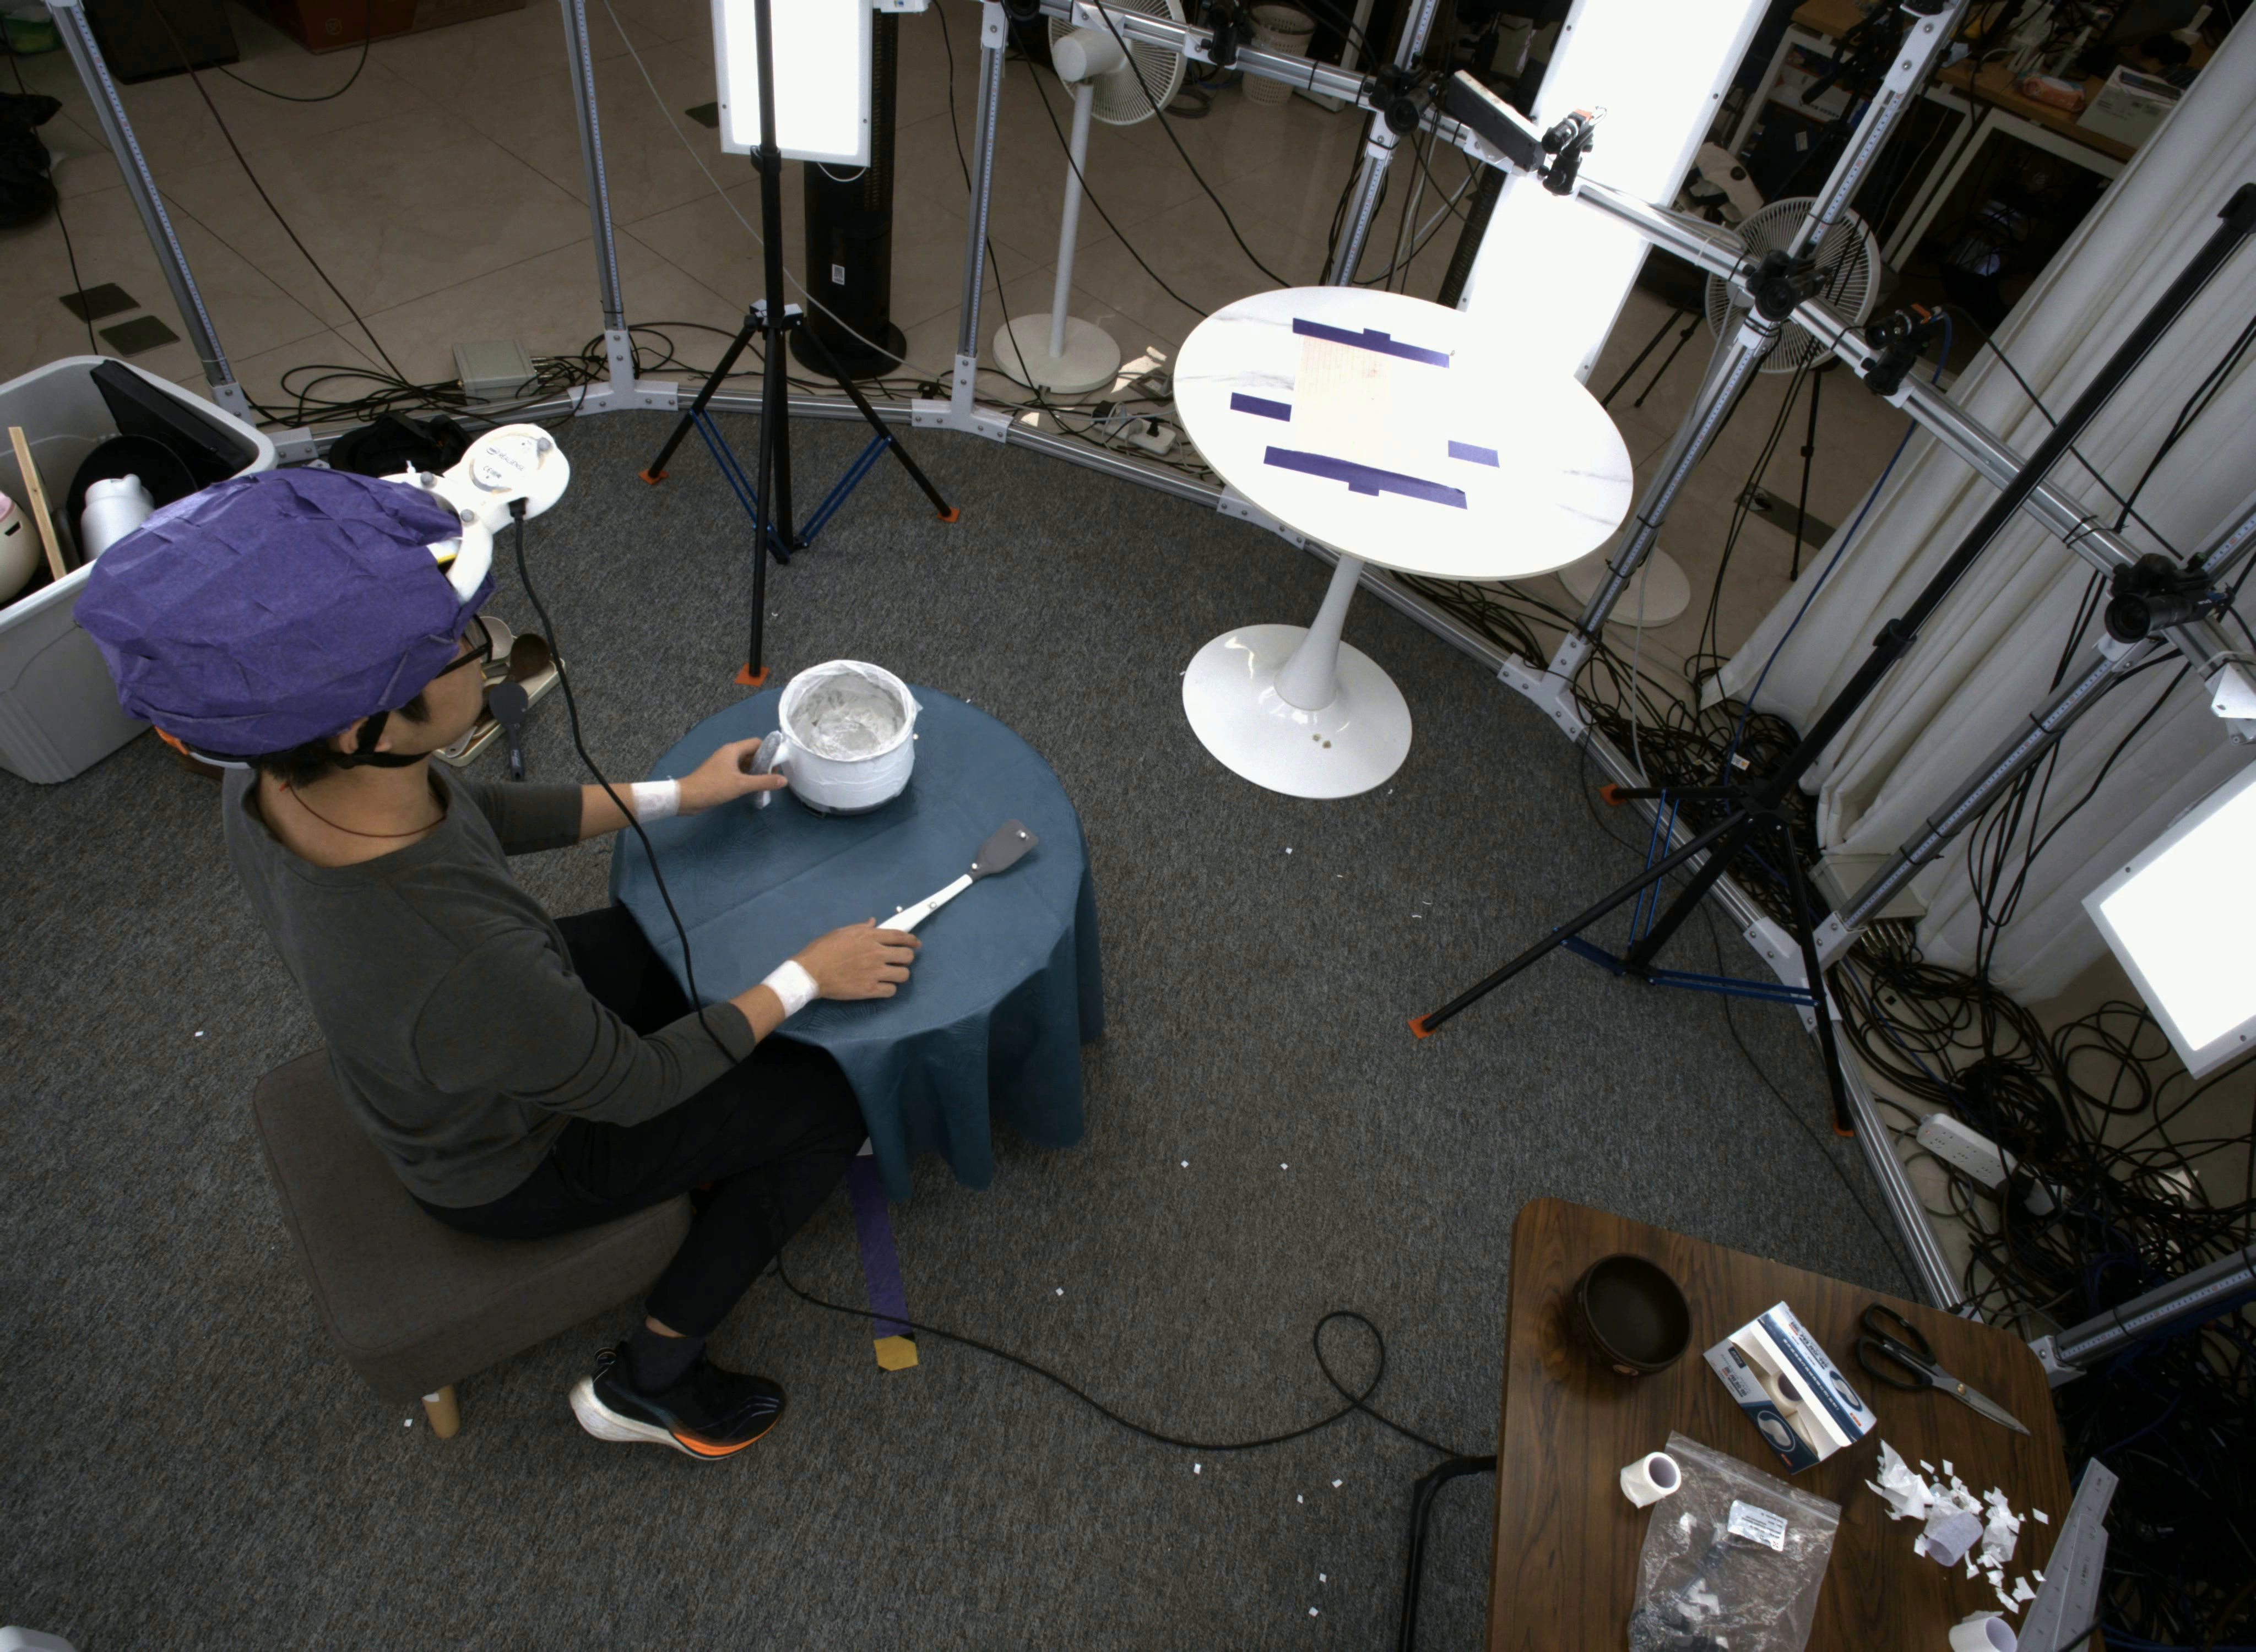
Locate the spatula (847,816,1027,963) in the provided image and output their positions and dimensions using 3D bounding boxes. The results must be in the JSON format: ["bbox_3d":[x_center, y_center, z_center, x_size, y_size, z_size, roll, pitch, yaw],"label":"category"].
[{"bbox_3d":[-0.248,0.080,1.700,0.057,0.033,0.288,38,55,19],"label":"spatula"}]

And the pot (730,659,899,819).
[{"bbox_3d":[-0.419,-0.102,1.724,0.235,0.139,0.174,-28,63,-29],"label":"pot"}]
